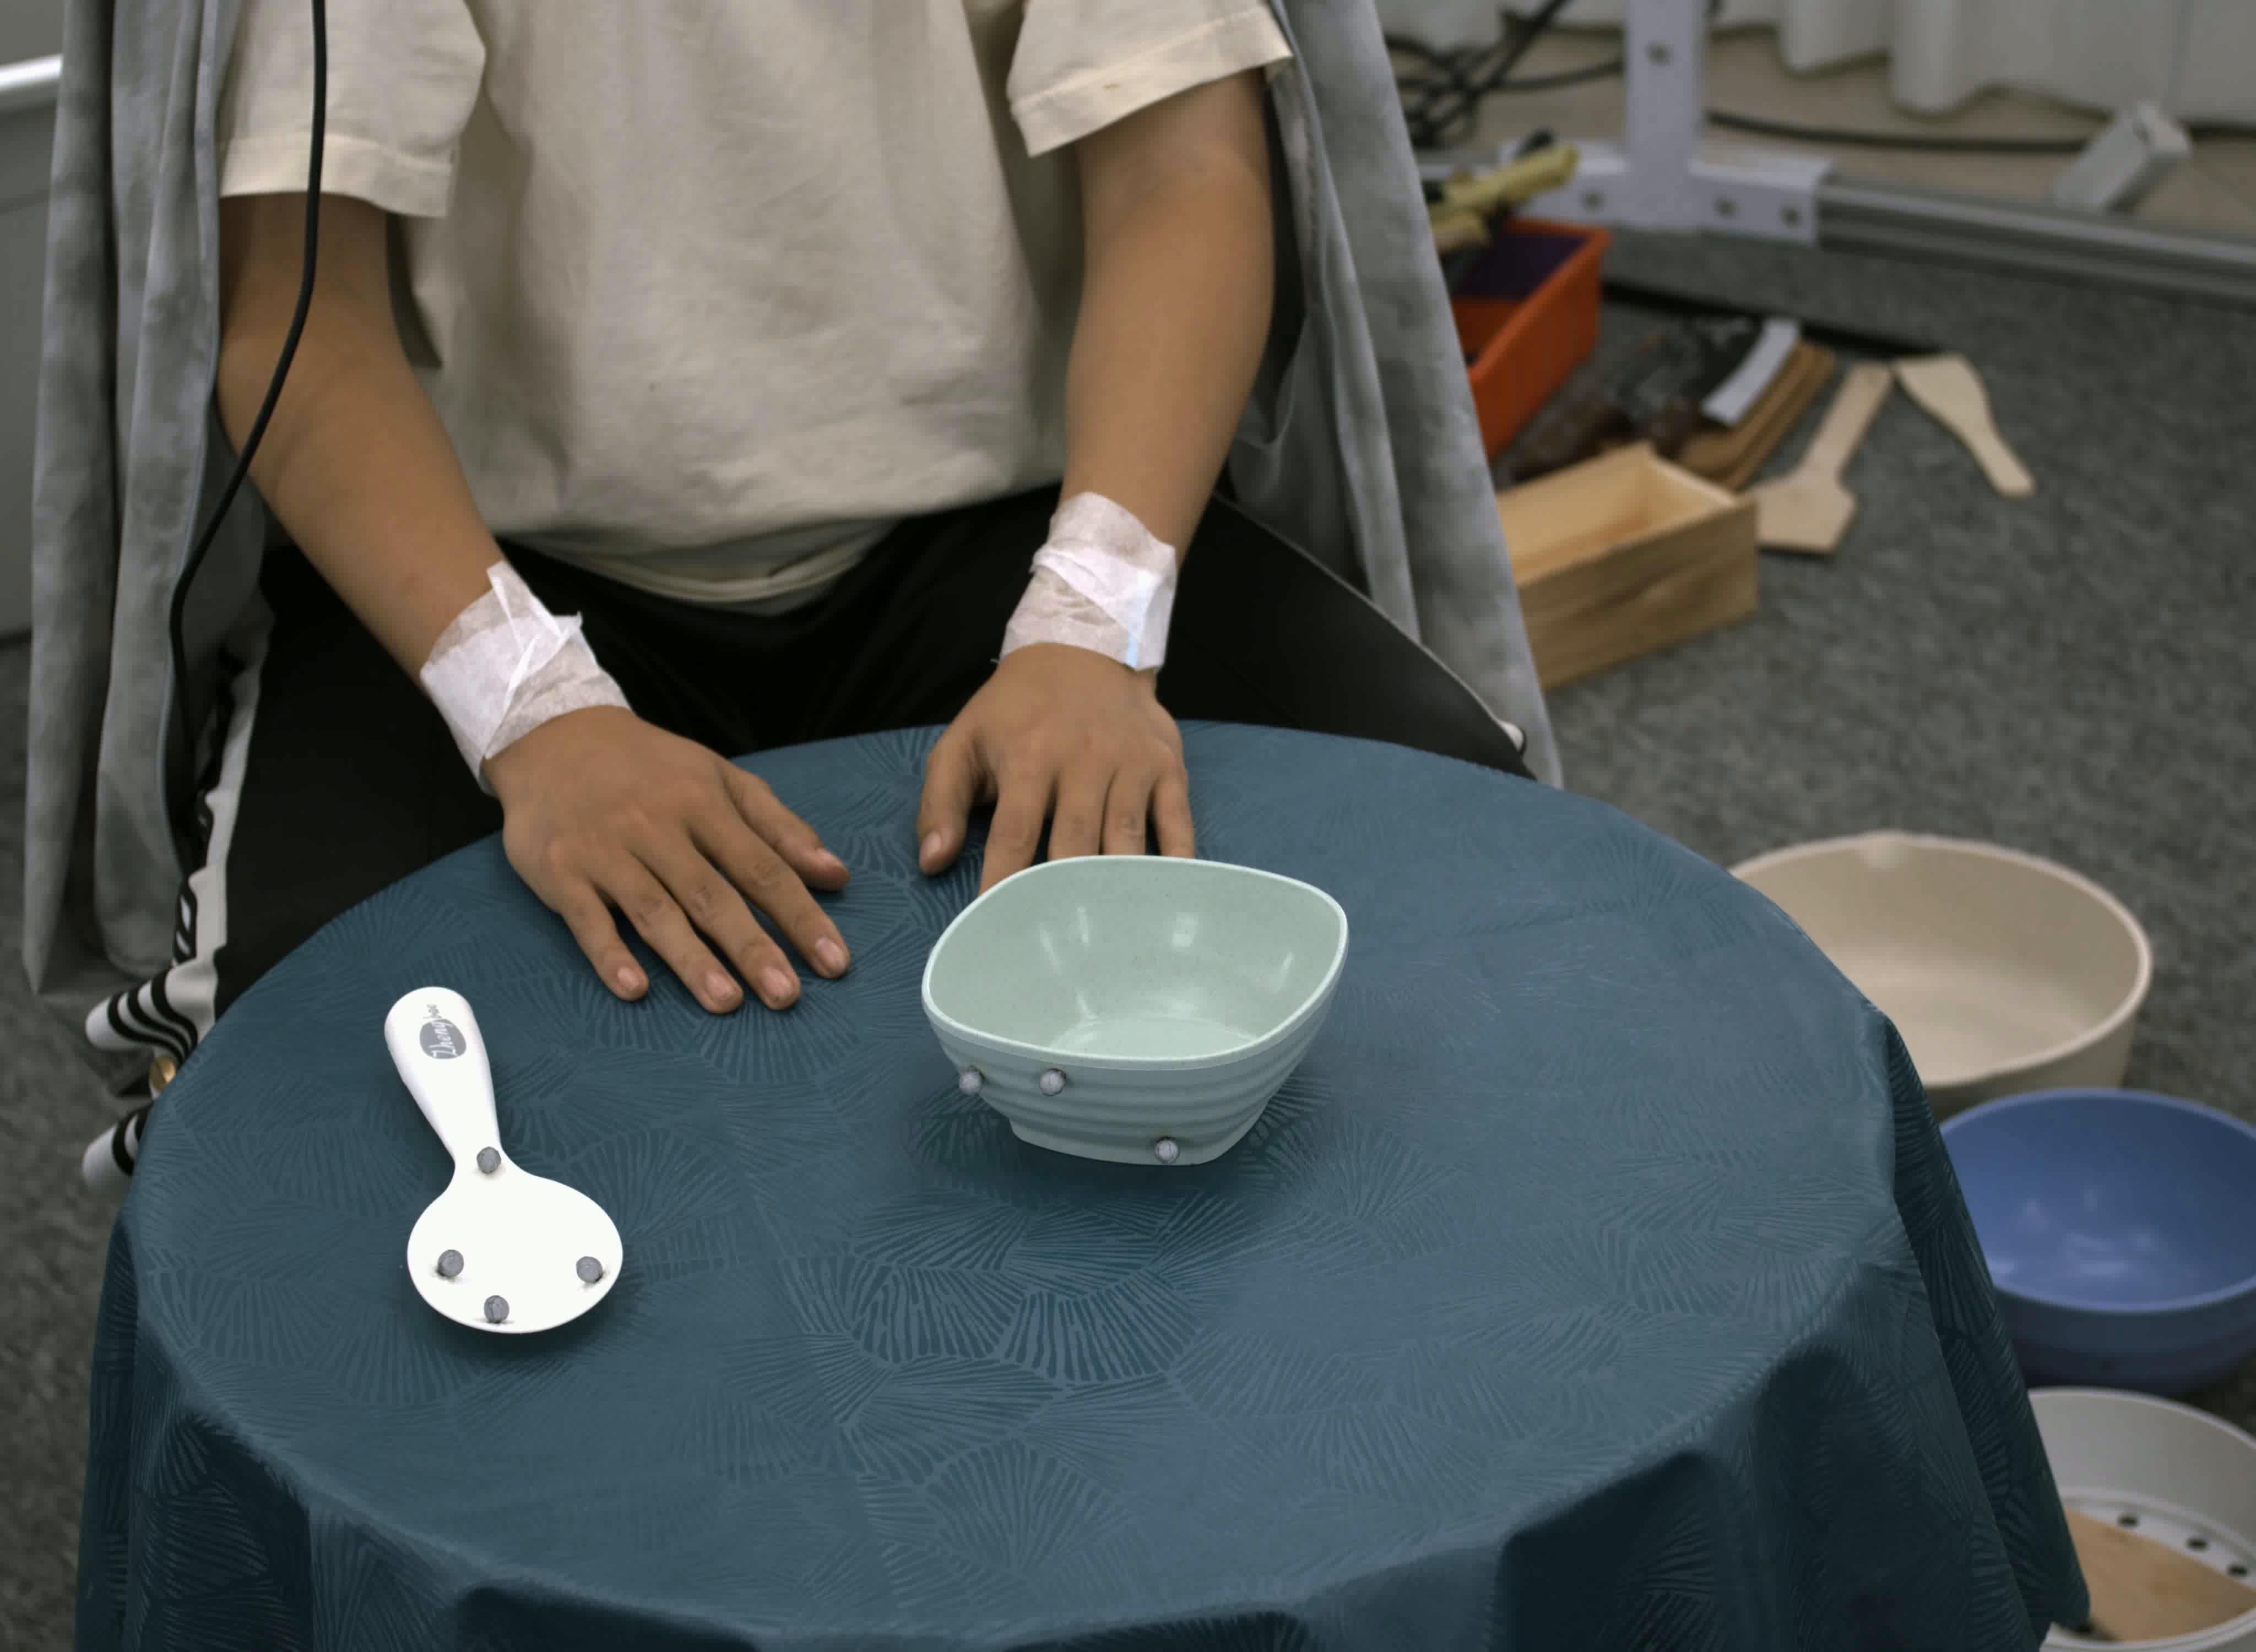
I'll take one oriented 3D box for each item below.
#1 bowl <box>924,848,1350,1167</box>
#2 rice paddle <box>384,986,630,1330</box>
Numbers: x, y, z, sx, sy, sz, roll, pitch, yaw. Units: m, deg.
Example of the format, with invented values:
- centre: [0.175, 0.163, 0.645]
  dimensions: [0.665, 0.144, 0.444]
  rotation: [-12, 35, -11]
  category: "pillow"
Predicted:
- centre: [0.005, 0.067, 1.902]
  dimensions: [0.150, 0.058, 0.154]
  rotation: [-3, 29, 2]
  category: "bowl"
- centre: [-0.213, 0.112, 1.866]
  dimensions: [0.069, 0.029, 0.207]
  rotation: [-11, 28, -13]
  category: "rice paddle"
